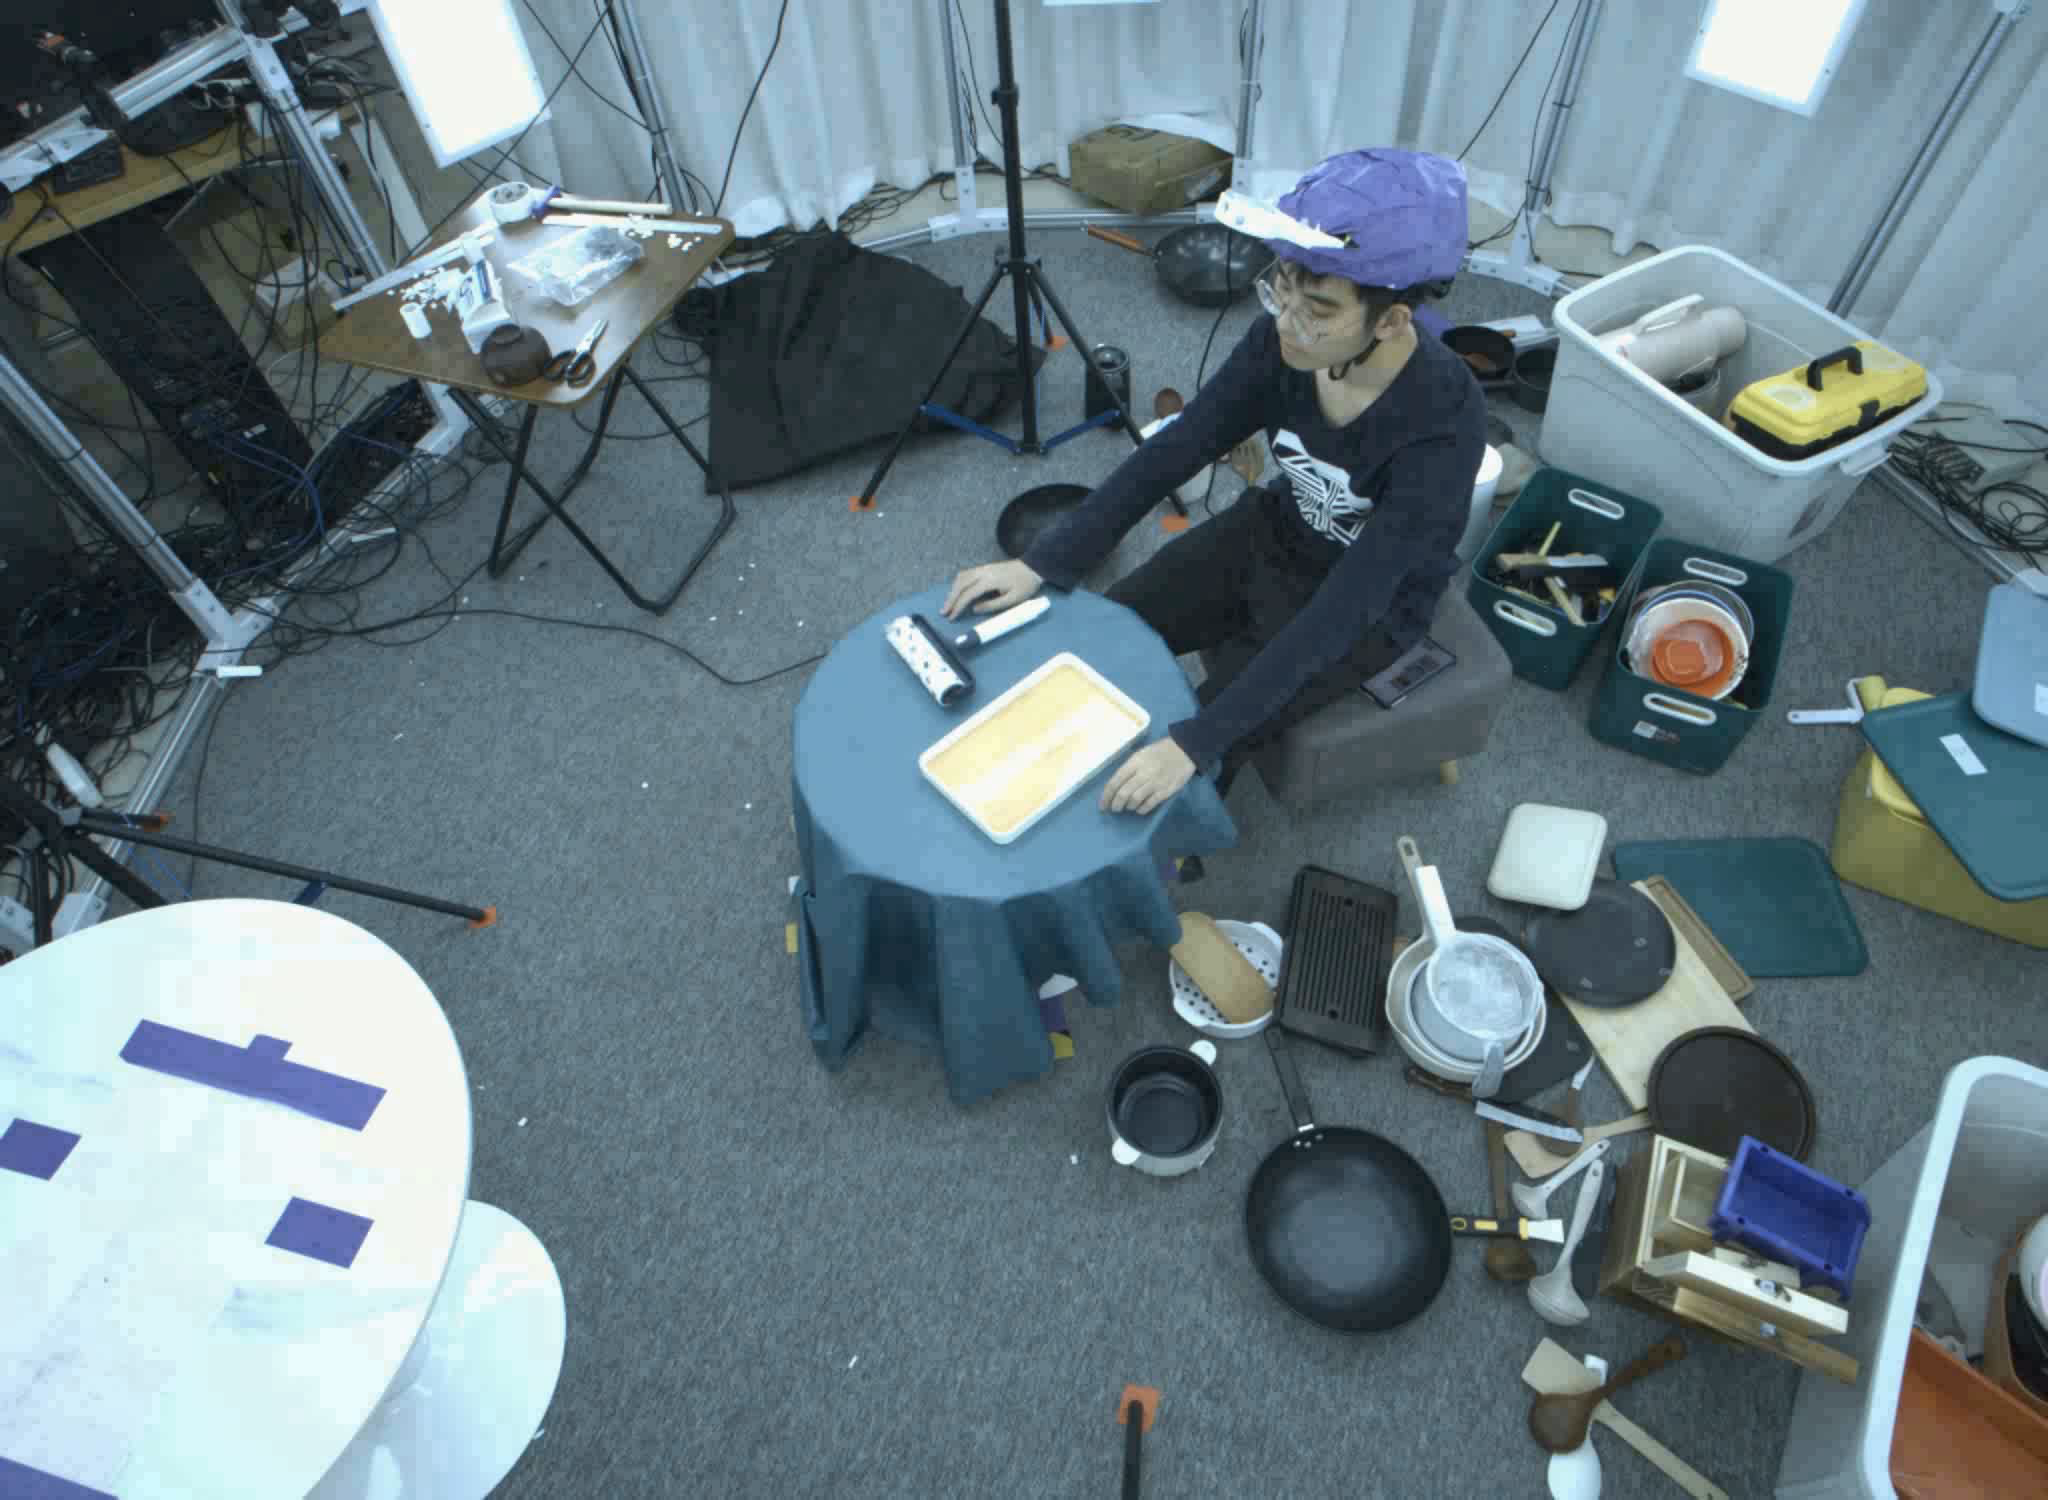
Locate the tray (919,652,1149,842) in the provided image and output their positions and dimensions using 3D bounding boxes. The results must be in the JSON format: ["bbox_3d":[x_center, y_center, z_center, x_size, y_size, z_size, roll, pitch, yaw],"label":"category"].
[{"bbox_3d":[0.016,-0.011,1.785,0.302,0.028,0.188,-37,61,-22],"label":"tray"}]

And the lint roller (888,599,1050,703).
[{"bbox_3d":[-0.067,-0.184,1.903,0.249,0.051,0.173,-29,58,-20],"label":"lint roller"}]
